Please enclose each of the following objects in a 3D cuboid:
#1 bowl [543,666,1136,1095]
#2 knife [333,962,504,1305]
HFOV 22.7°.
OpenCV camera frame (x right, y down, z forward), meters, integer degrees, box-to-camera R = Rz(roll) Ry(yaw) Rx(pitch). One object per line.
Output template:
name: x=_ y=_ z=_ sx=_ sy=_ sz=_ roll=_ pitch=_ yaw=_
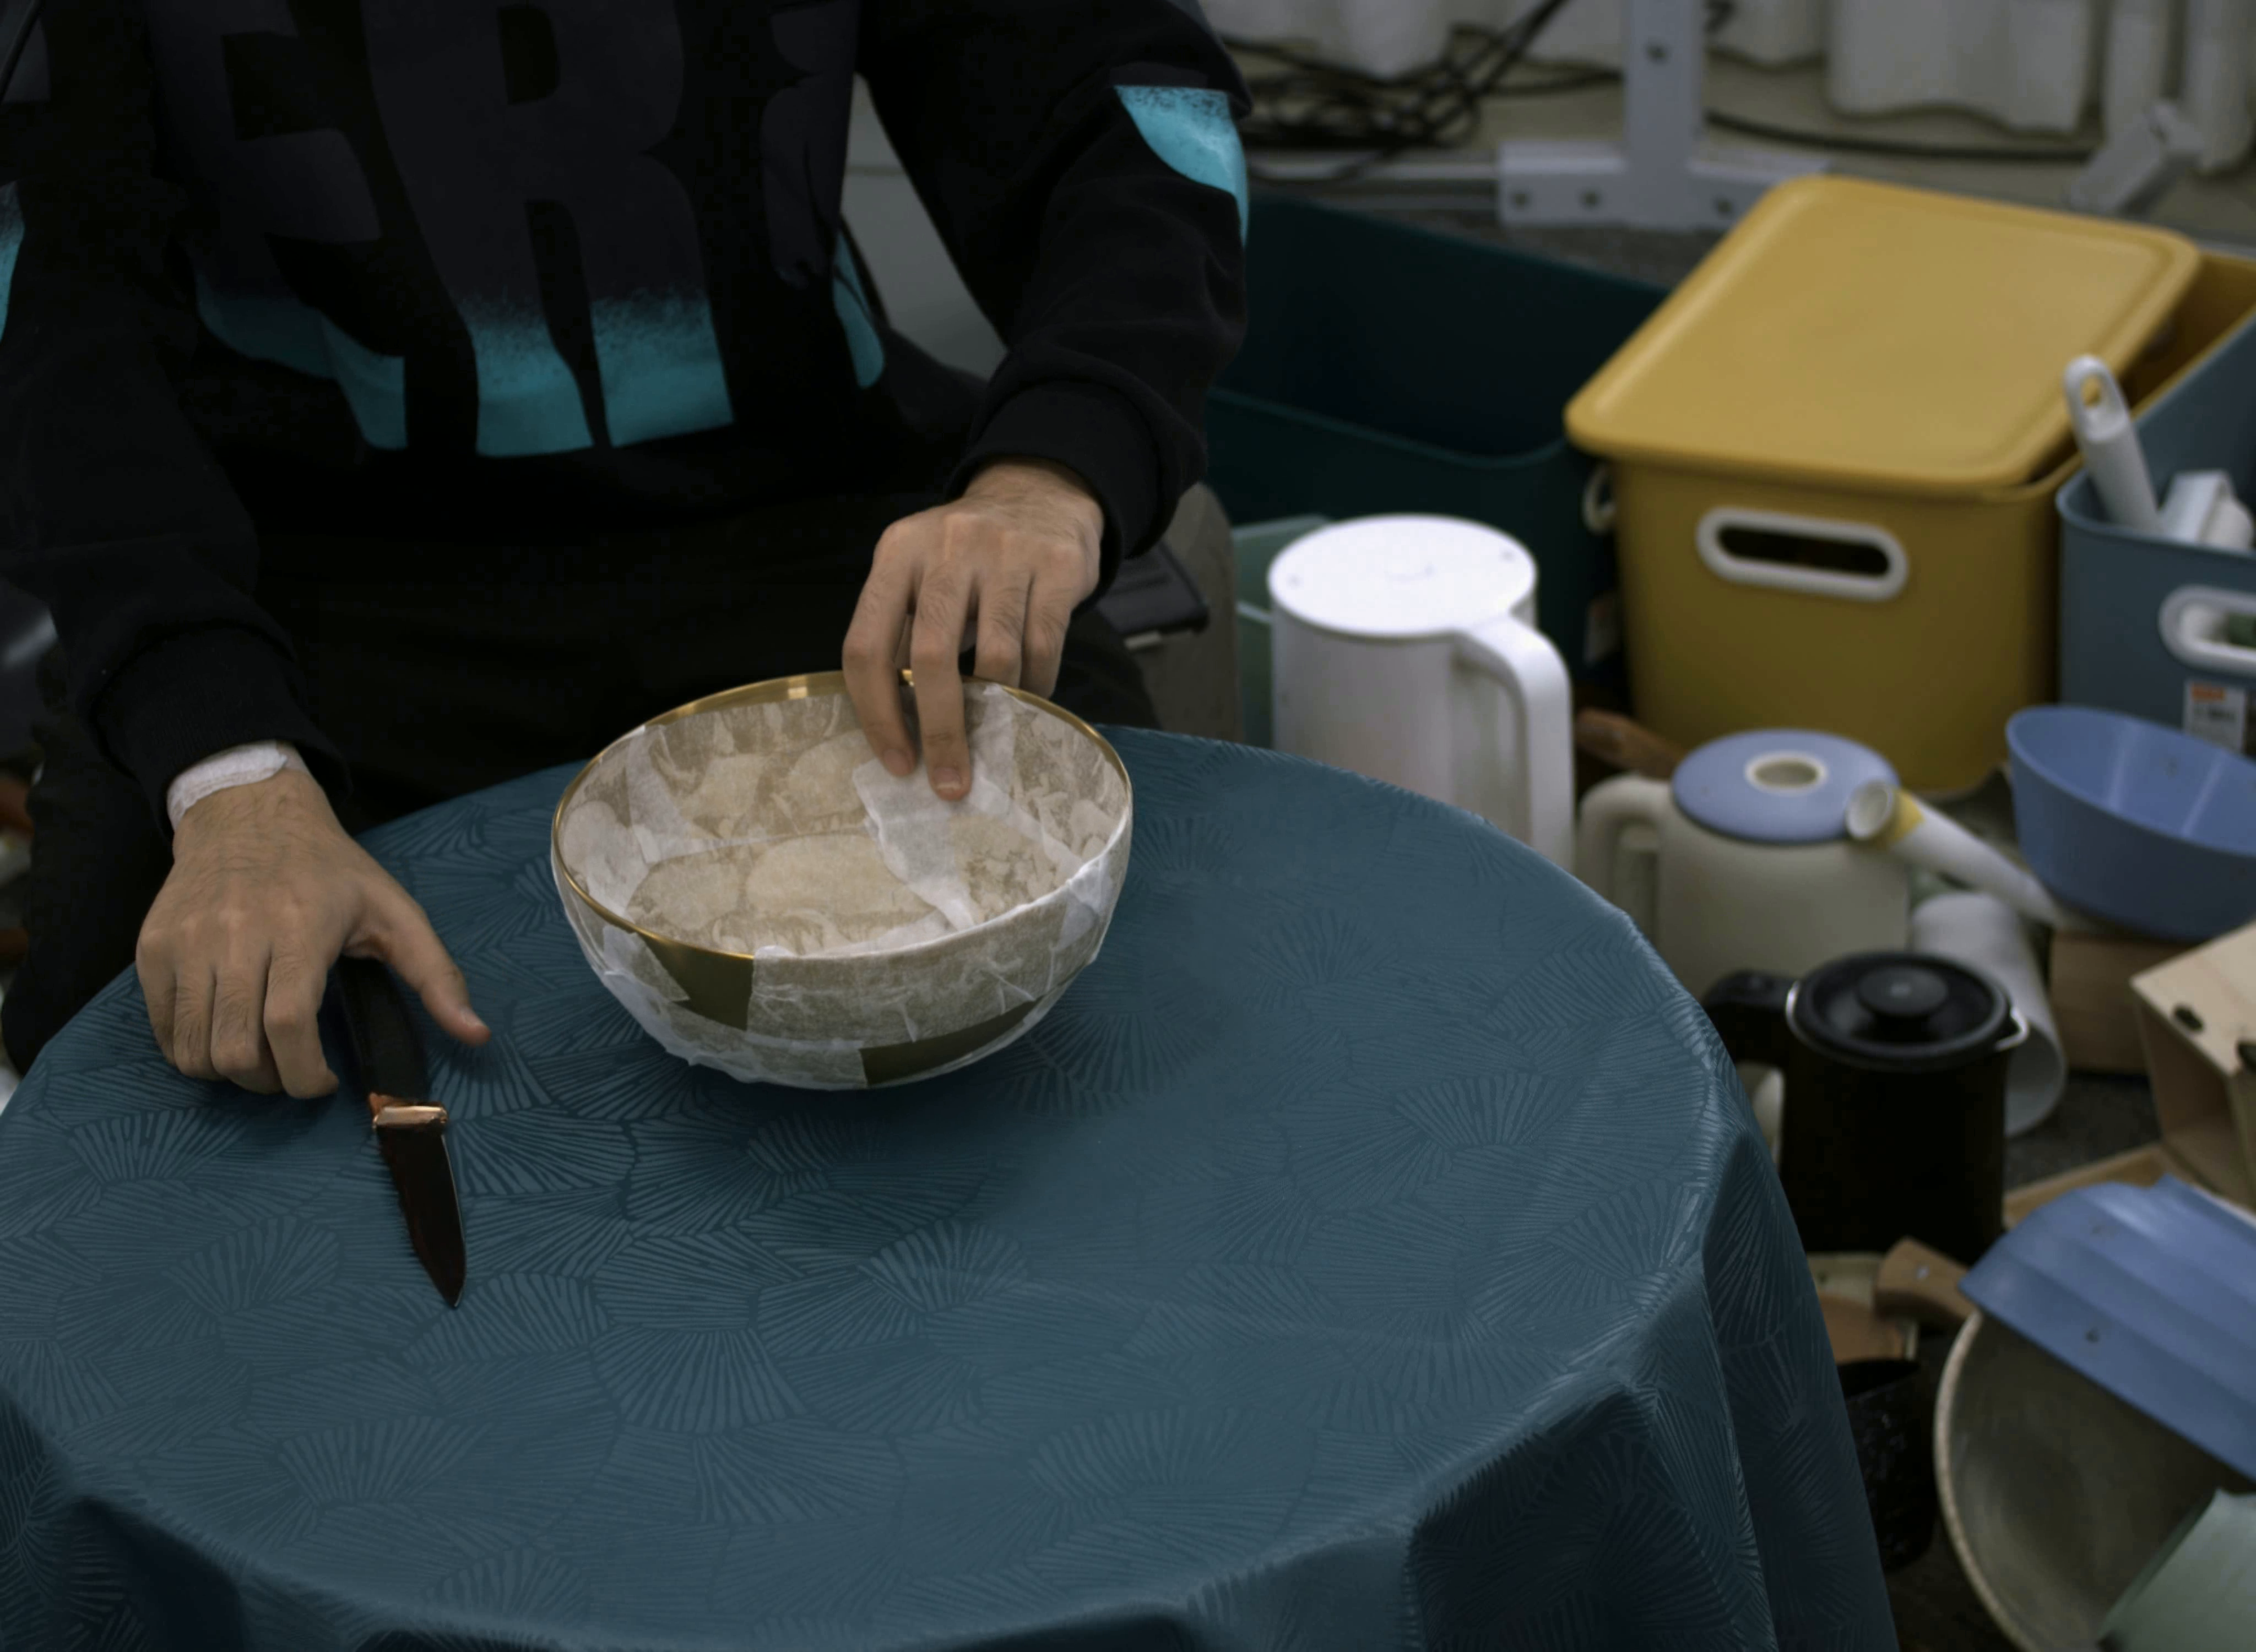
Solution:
bowl: x=-0.095 y=0.030 z=1.944 sx=0.213 sy=0.093 sz=0.218 roll=-3 pitch=29 yaw=2
knife: x=-0.243 y=0.104 z=1.909 sx=0.026 sy=0.017 sz=0.228 roll=-3 pitch=28 yaw=-17
